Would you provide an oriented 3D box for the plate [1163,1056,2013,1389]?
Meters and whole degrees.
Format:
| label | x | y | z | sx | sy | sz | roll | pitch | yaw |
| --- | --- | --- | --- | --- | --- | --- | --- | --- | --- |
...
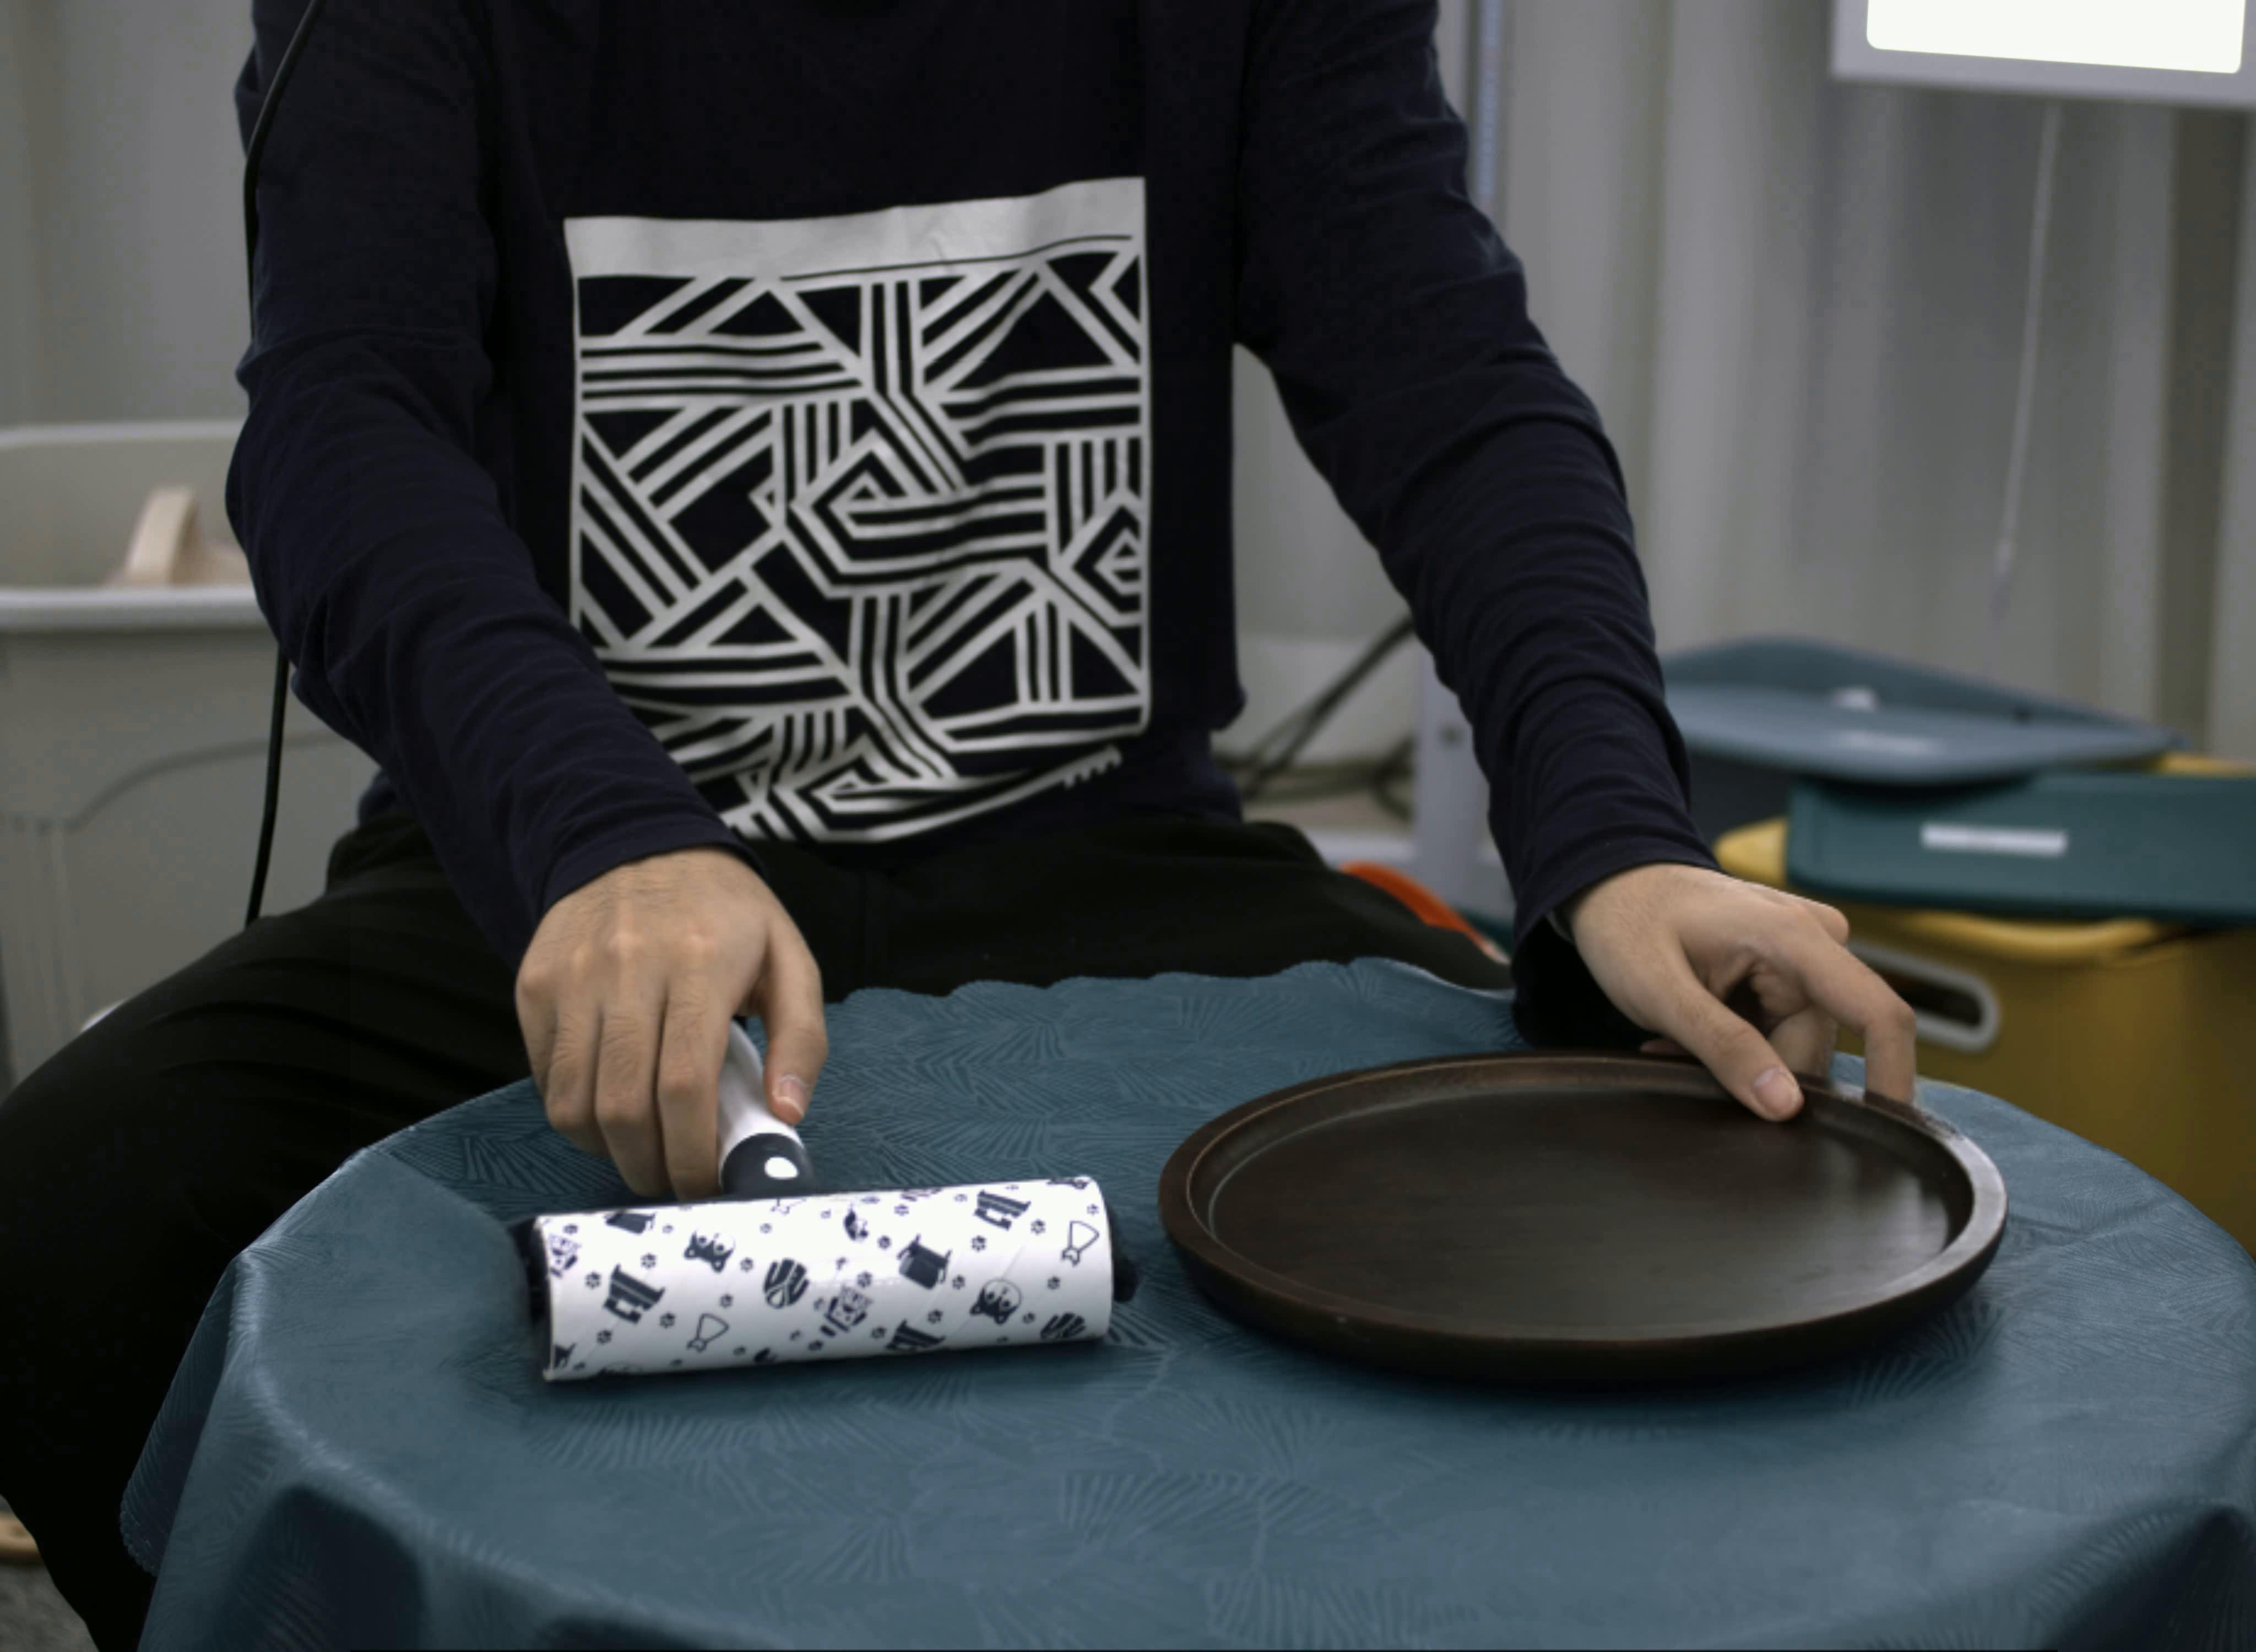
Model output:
| label | x | y | z | sx | sy | sz | roll | pitch | yaw |
| --- | --- | --- | --- | --- | --- | --- | --- | --- | --- |
| plate | 0.136 | 0.115 | 1.567 | 0.254 | 0.029 | 0.253 | -1 | 15 | 1 |

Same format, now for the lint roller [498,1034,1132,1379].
| label | x | y | z | sx | sy | sz | roll | pitch | yaw |
| --- | --- | --- | --- | --- | --- | --- | --- | --- | --- |
| lint roller | -0.111 | 0.099 | 1.573 | 0.176 | 0.051 | 0.244 | -4 | 16 | -13 |
